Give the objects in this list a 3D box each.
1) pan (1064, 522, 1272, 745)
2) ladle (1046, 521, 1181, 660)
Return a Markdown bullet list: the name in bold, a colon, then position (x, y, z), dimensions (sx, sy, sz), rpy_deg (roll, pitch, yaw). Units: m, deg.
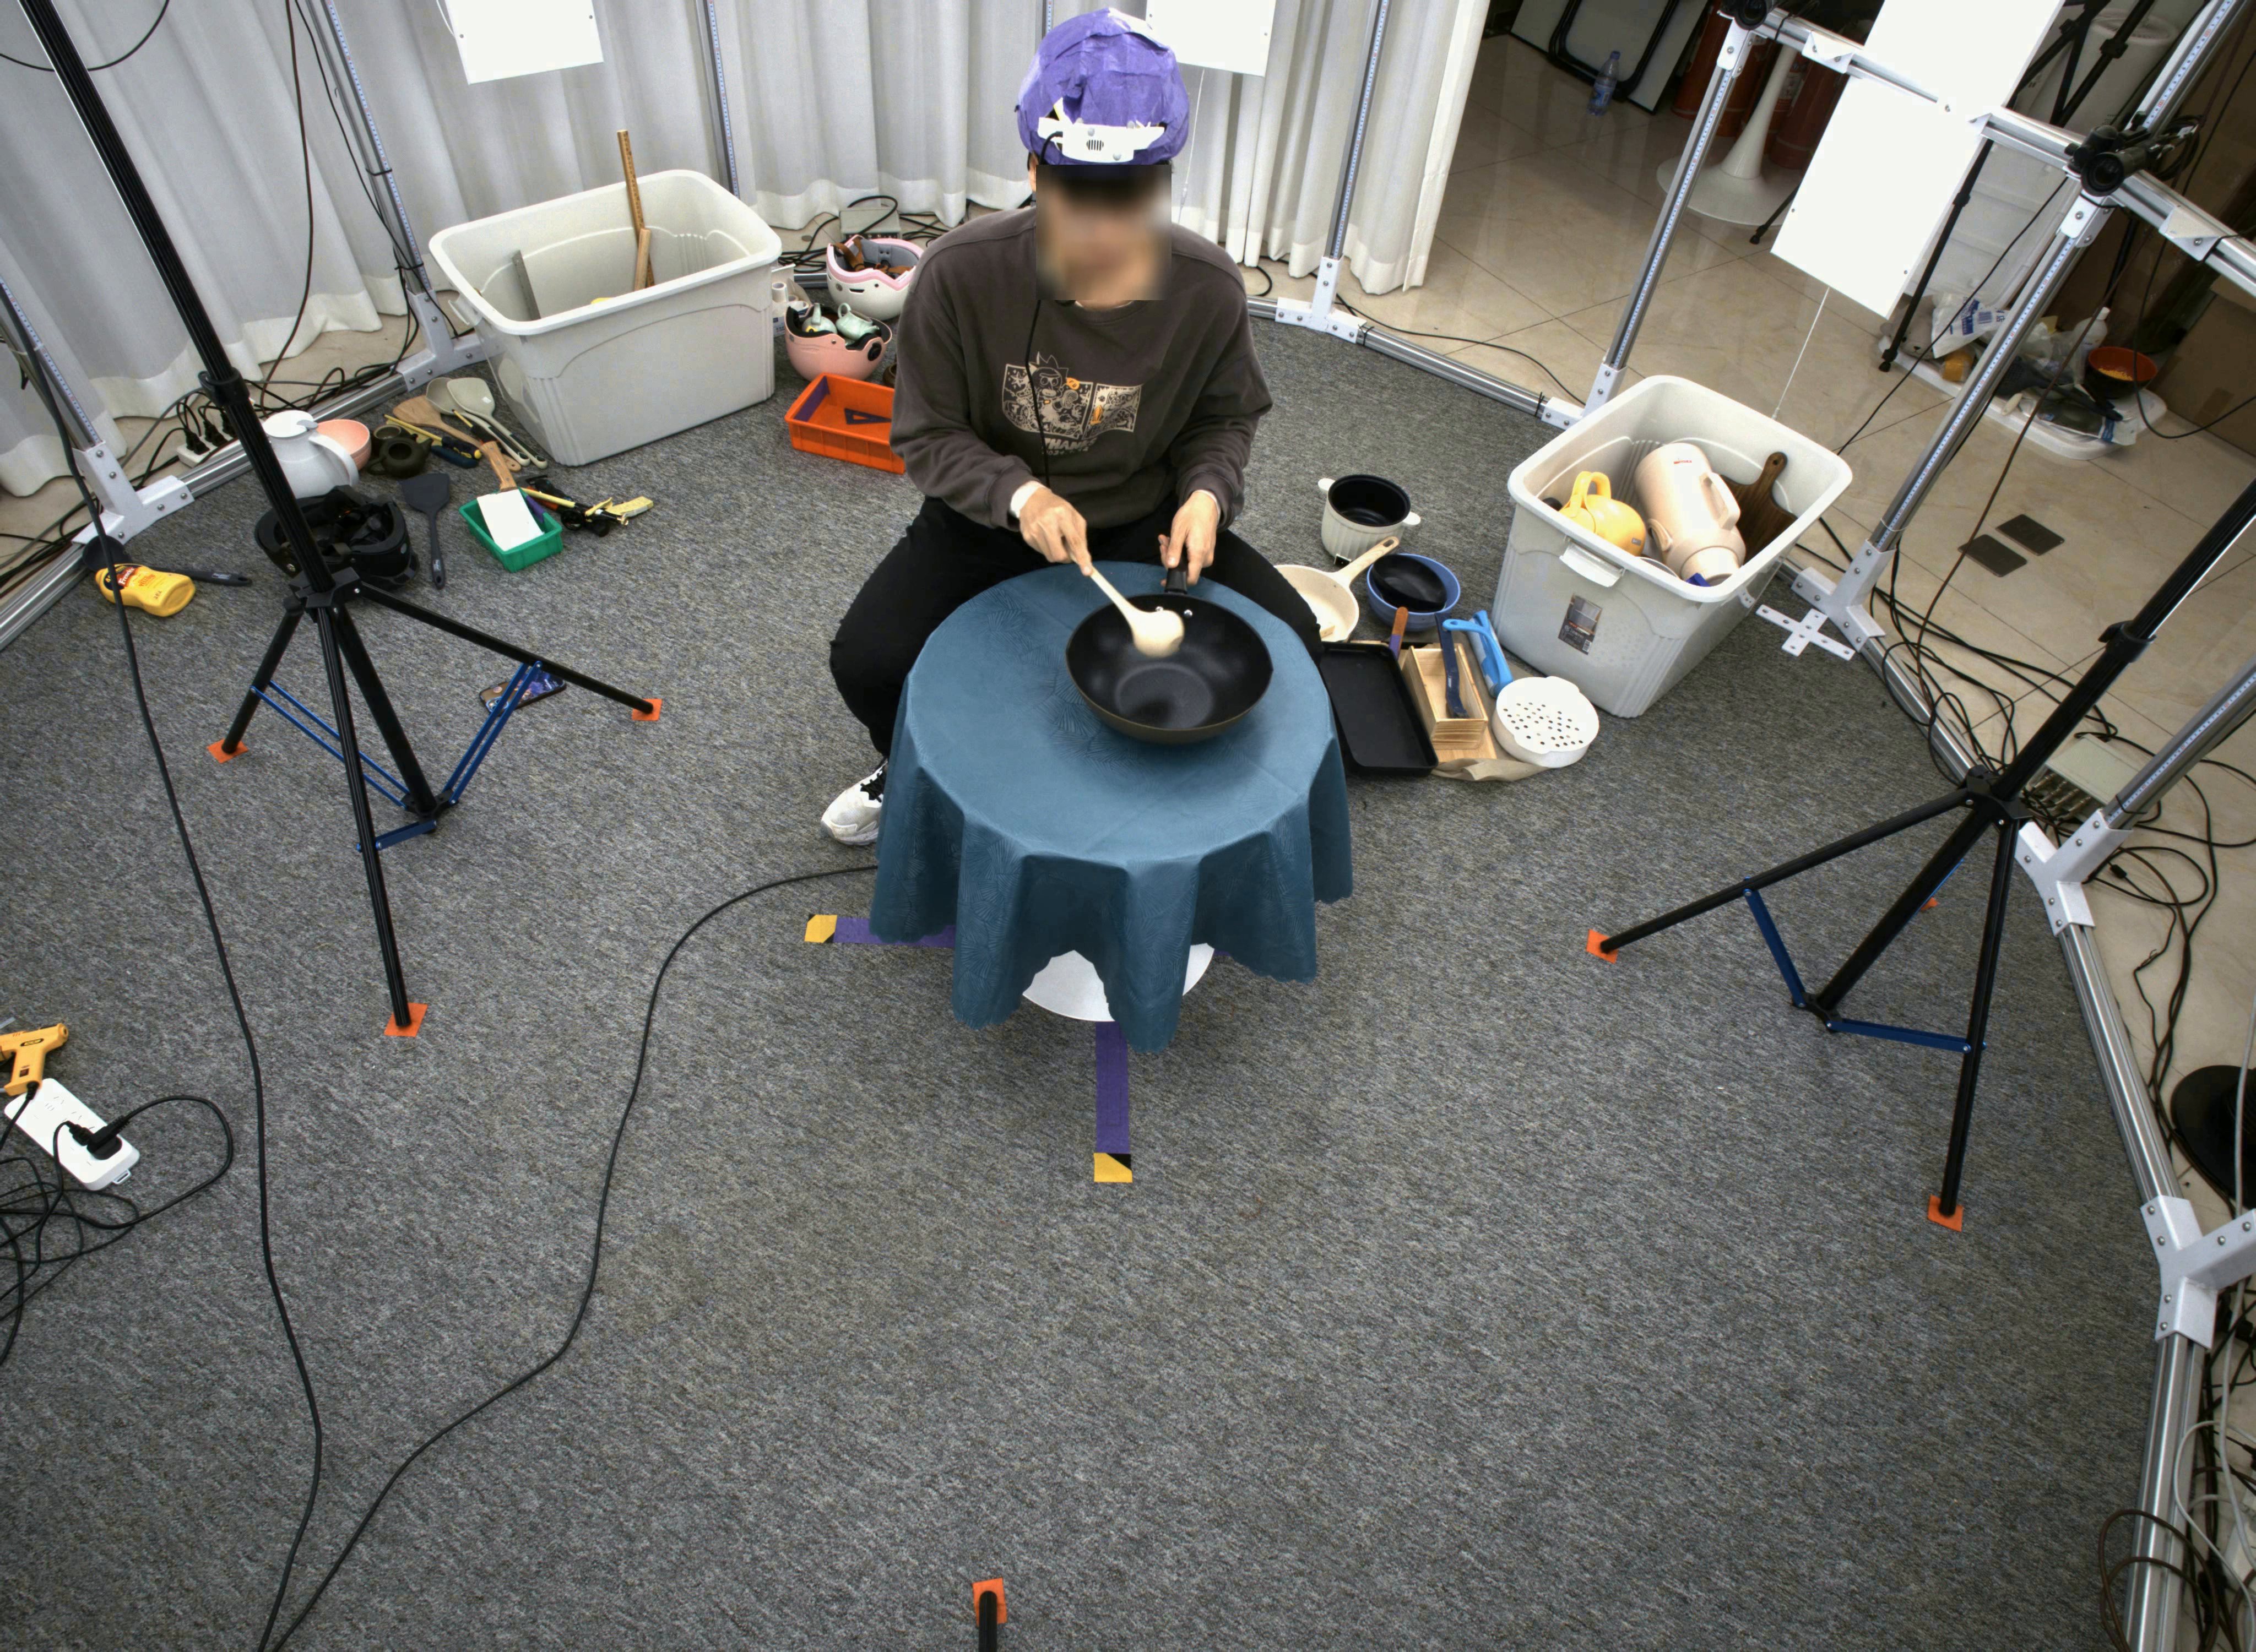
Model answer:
- **pan**: position (0.062, -0.274, 1.855), dimensions (0.288, 0.085, 0.474), rpy_deg (6, 47, 2)
- **ladle**: position (-0.021, -0.339, 1.823), dimensions (0.258, 0.071, 0.072), rpy_deg (51, 24, 19)
